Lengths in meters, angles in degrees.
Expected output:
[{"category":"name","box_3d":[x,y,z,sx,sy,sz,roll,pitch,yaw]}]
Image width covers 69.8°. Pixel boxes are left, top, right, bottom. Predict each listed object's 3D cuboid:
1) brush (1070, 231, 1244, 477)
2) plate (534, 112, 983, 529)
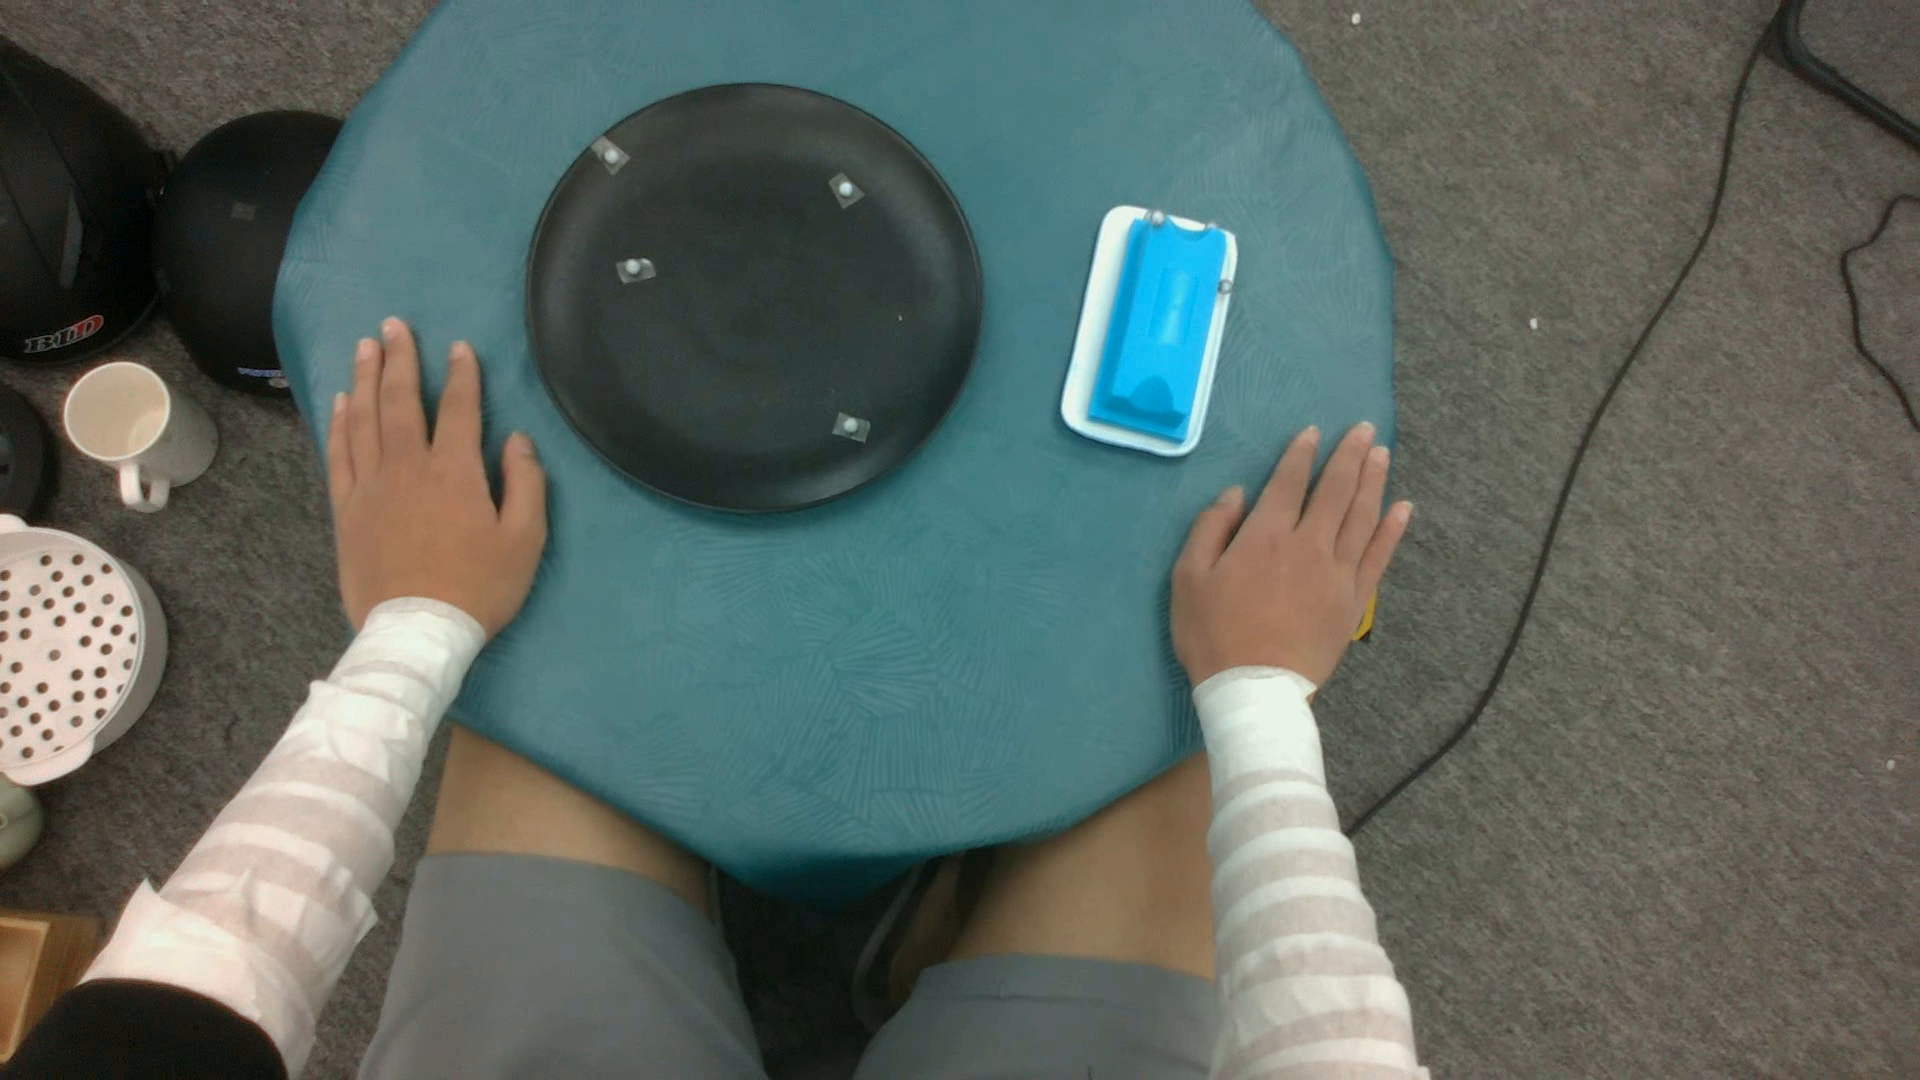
[{"category":"brush","box_3d":[0.112,-0.109,0.762,0.084,0.056,0.144,11,73,1]},{"category":"plate","box_3d":[-0.109,-0.123,0.762,0.244,0.023,0.245,1,76,-6]}]
